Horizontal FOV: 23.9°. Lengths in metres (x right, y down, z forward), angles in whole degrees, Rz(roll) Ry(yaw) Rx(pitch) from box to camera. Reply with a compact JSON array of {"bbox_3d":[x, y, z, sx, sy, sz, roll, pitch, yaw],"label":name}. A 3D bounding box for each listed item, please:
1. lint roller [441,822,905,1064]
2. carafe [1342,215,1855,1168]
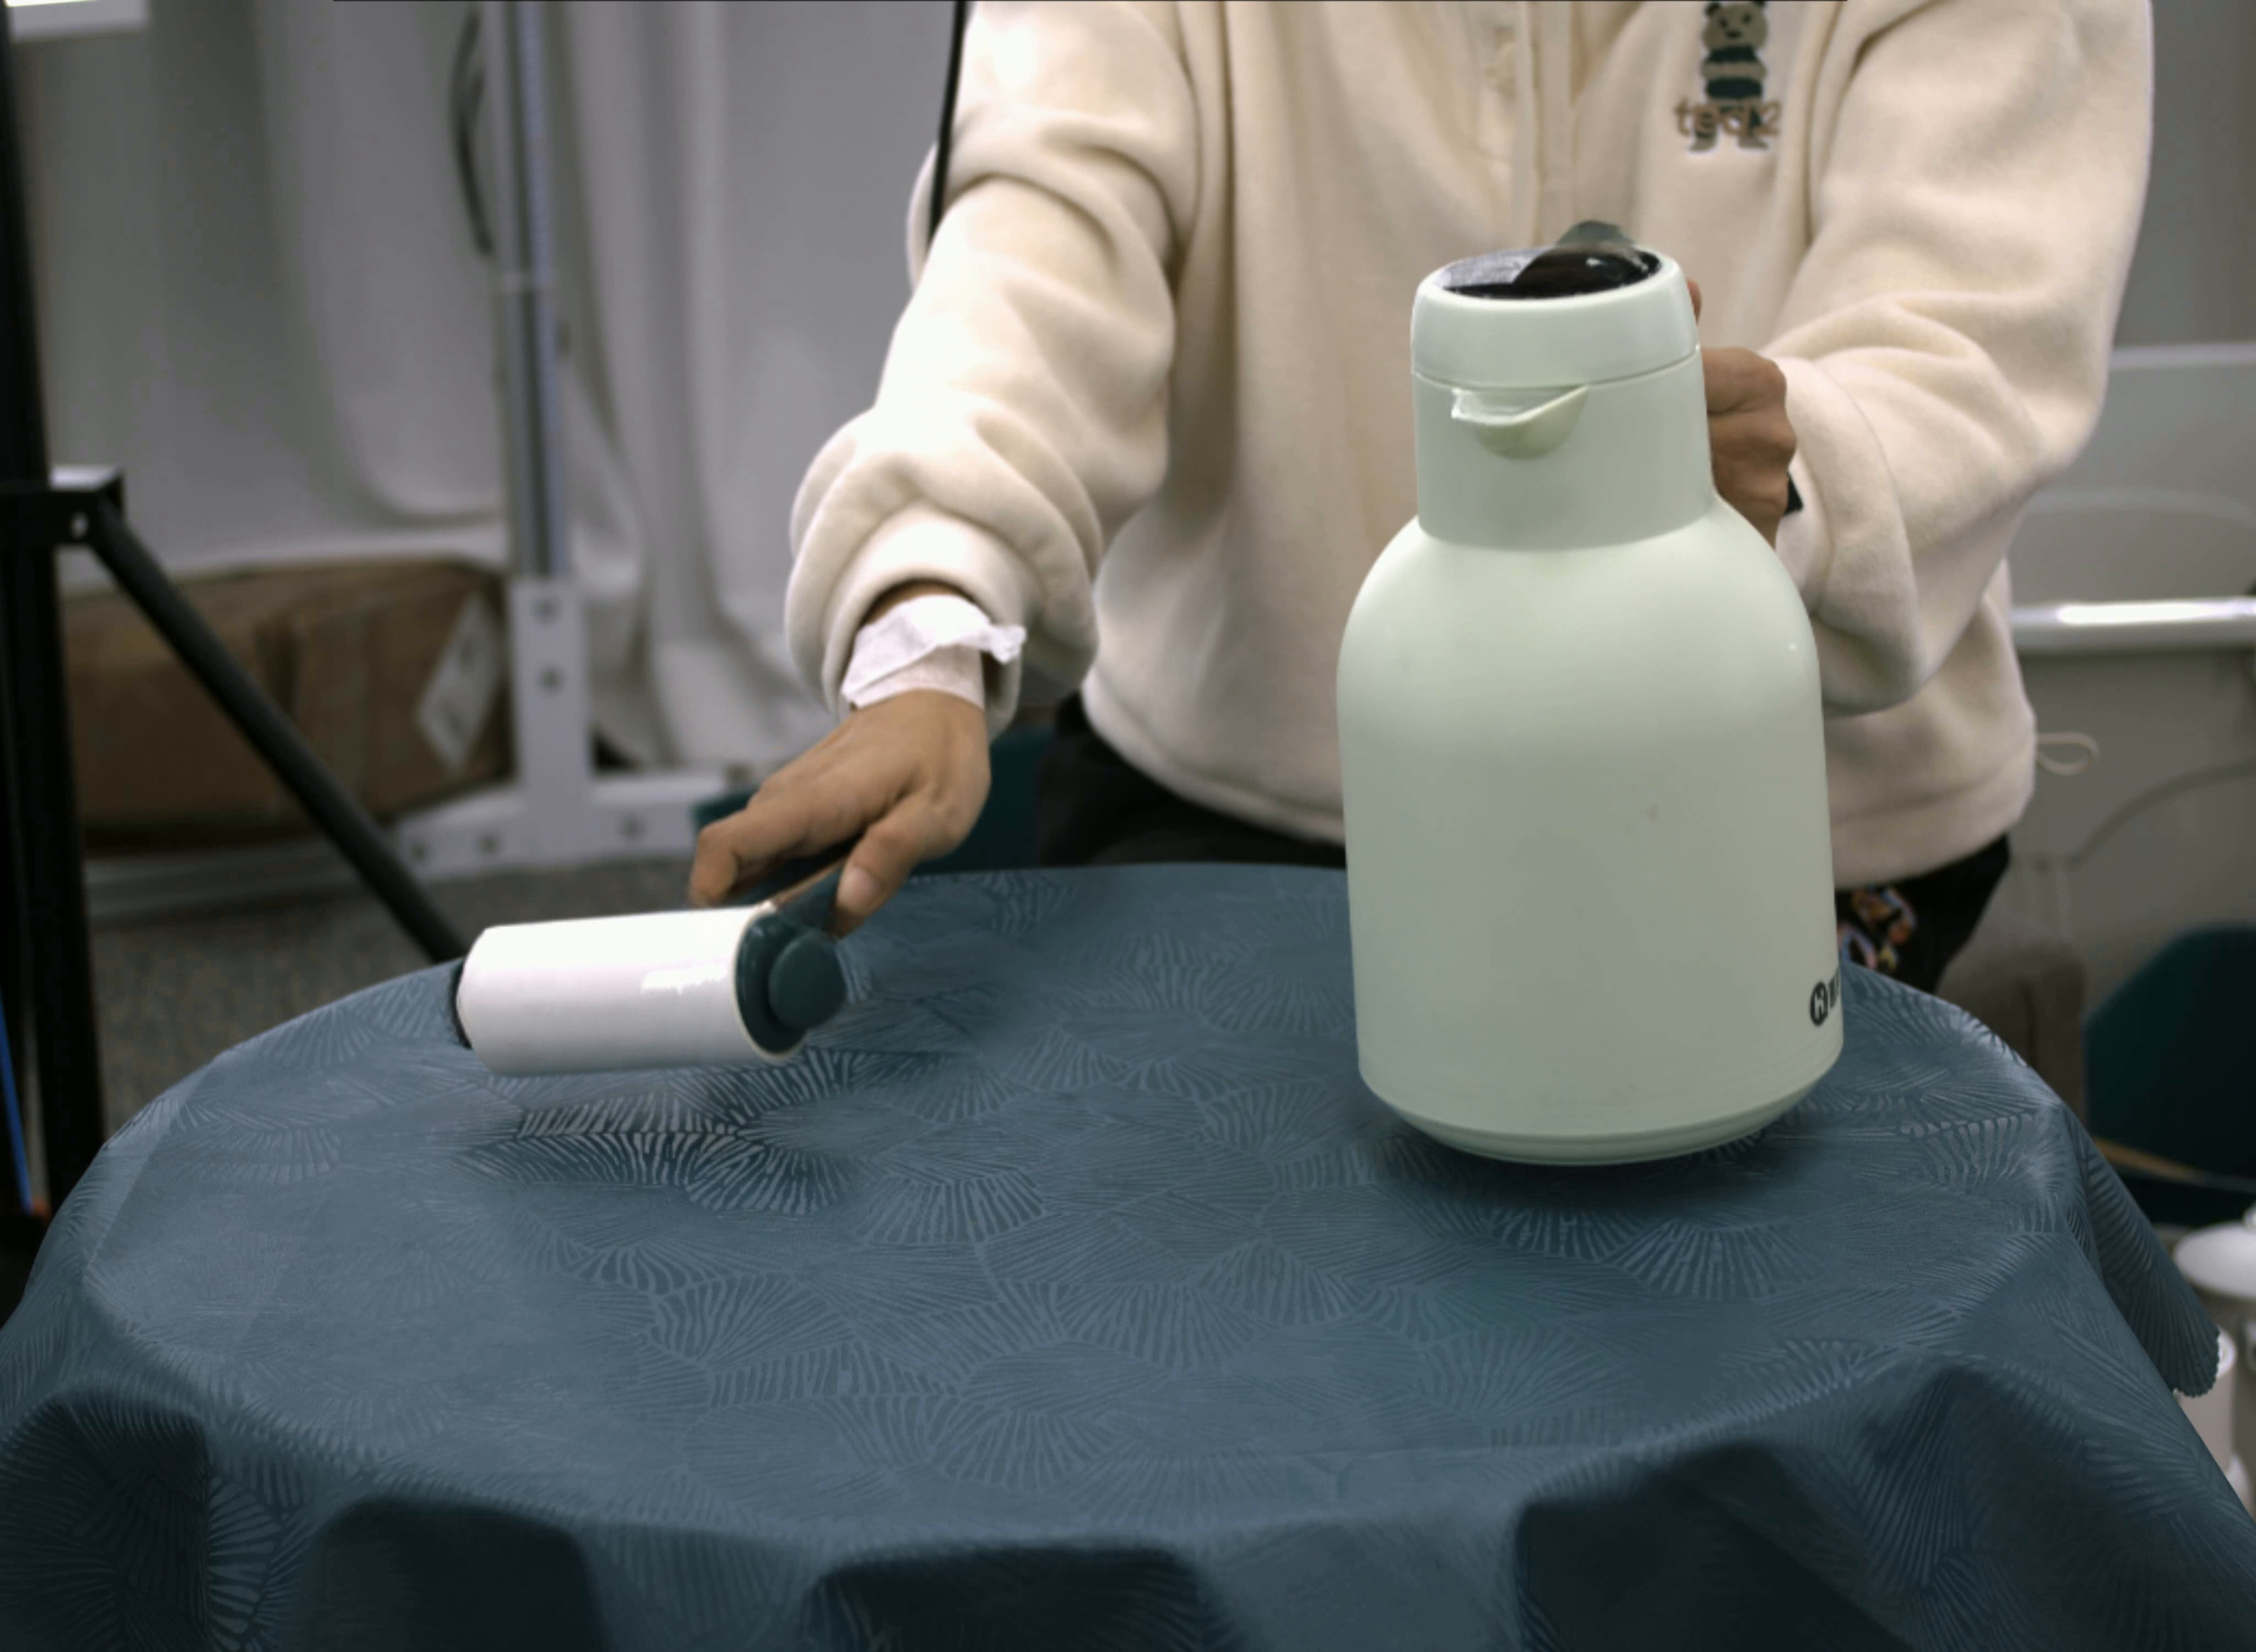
[{"bbox_3d":[-0.121,0.019,1.667,0.136,0.048,0.178,-4,23,30],"label":"lint roller"},{"bbox_3d":[0.137,-0.043,1.554,0.146,0.257,0.184,0,14,22],"label":"carafe"}]
